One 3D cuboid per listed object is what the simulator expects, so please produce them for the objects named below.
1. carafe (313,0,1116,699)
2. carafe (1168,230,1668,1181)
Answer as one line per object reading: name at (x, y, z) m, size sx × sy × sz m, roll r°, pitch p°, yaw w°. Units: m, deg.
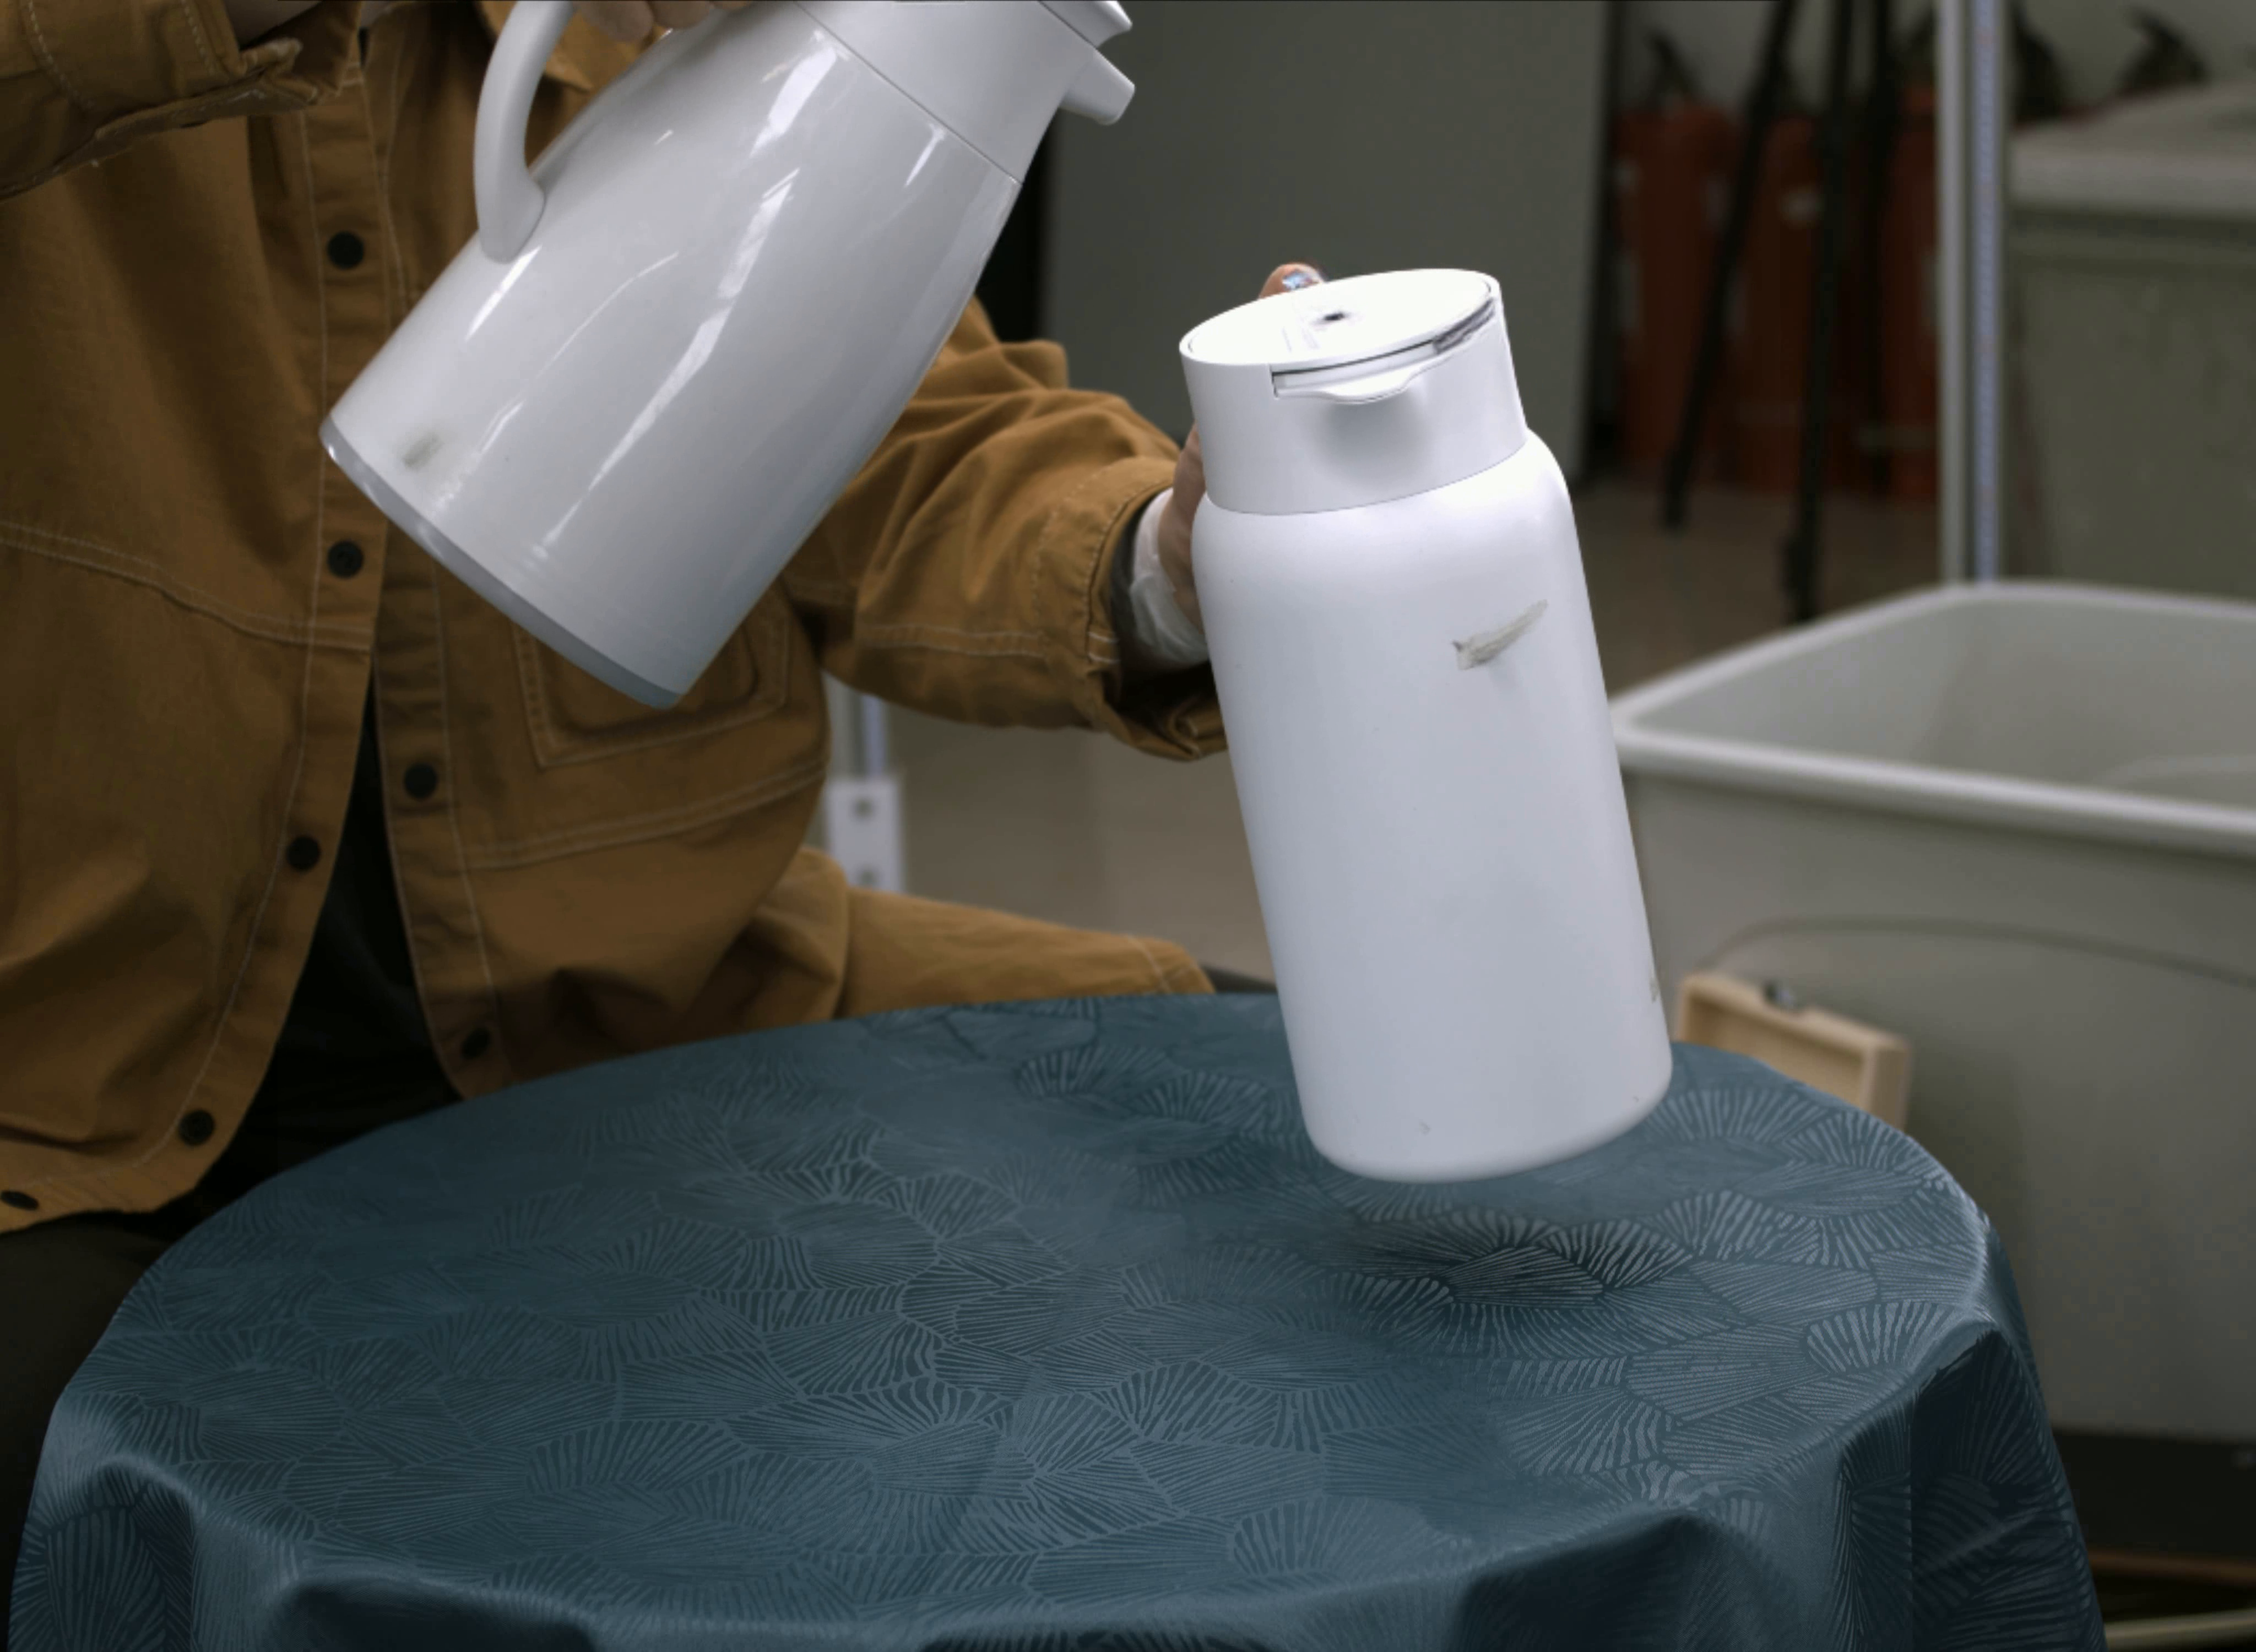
carafe at (-0.122, -0.184, 1.547) m, size 0.165 × 0.250 × 0.134 m, roll 33°, pitch 8°, yaw -32°
carafe at (0.083, -0.040, 1.656) m, size 0.122 × 0.271 × 0.173 m, roll -15°, pitch 16°, yaw -1°
